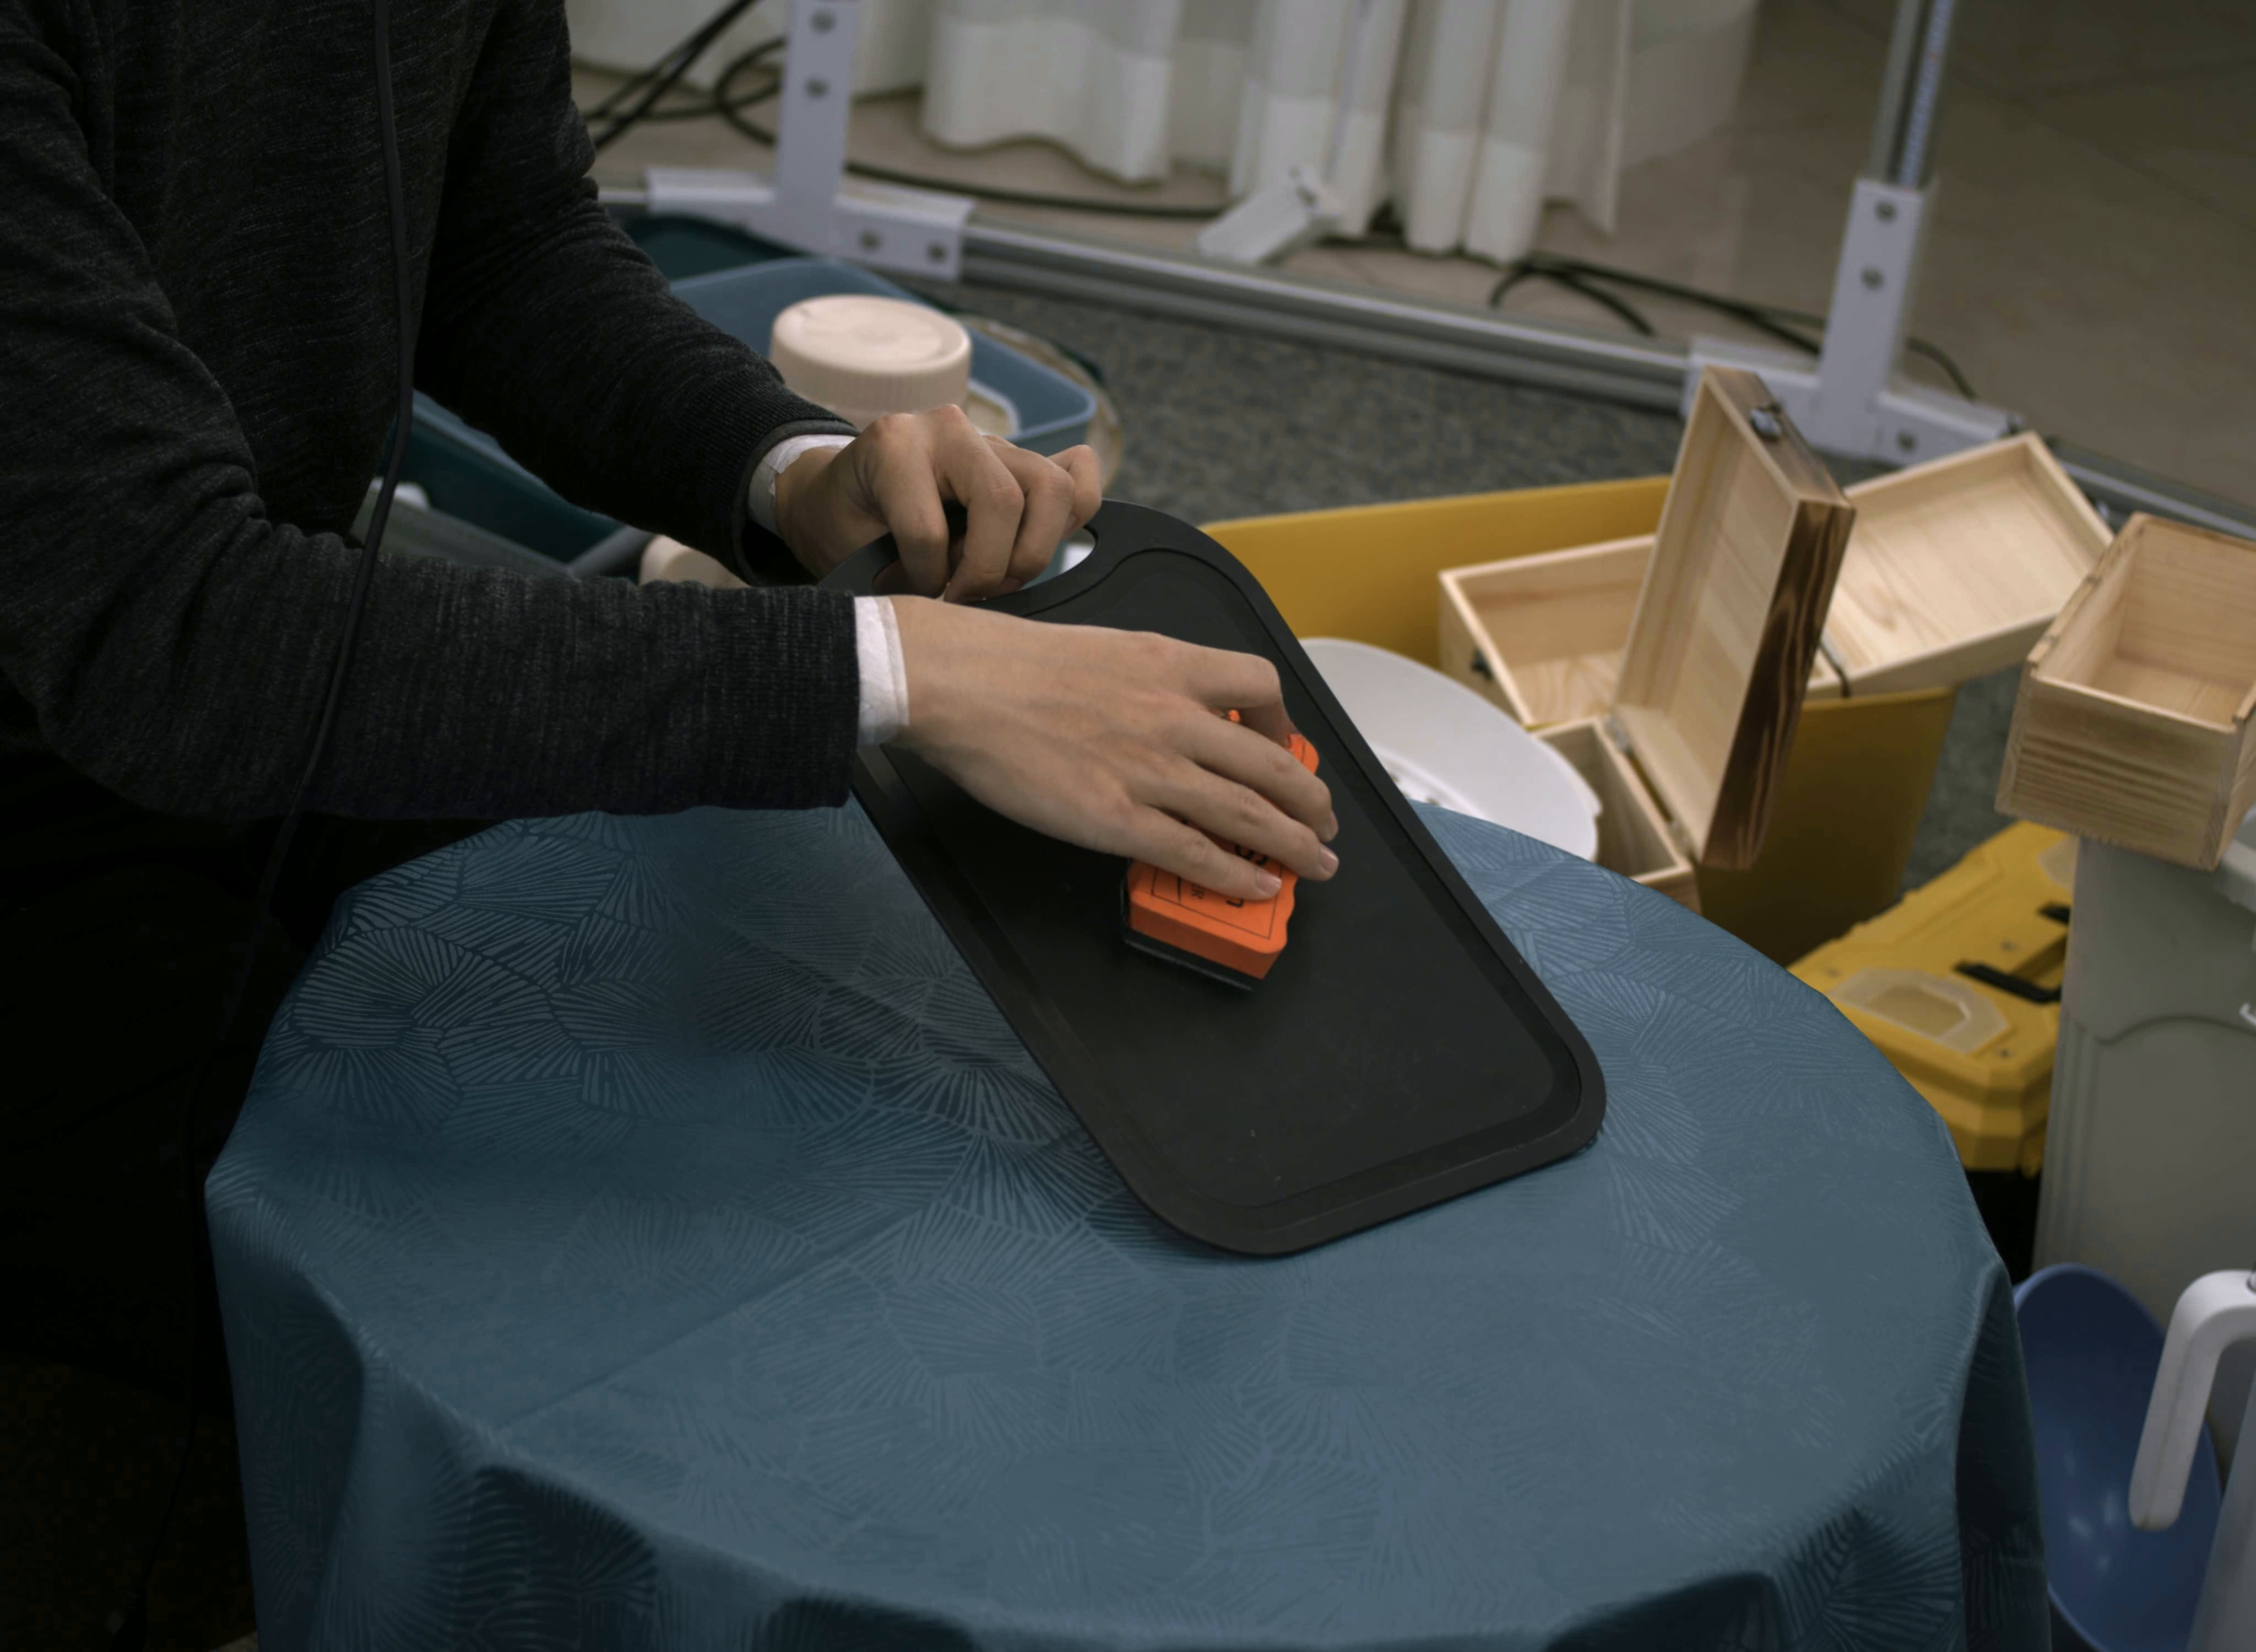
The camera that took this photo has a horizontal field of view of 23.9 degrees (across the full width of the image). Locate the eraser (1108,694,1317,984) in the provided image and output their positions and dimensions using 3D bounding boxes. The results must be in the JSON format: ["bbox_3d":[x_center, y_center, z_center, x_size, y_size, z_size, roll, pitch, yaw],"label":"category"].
[{"bbox_3d":[0.030,0.004,1.879,0.059,0.023,0.109,20,45,-6],"label":"eraser"}]

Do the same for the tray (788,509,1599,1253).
[{"bbox_3d":[0.018,0.009,1.881,0.210,0.010,0.328,-14,58,-36],"label":"tray"}]
